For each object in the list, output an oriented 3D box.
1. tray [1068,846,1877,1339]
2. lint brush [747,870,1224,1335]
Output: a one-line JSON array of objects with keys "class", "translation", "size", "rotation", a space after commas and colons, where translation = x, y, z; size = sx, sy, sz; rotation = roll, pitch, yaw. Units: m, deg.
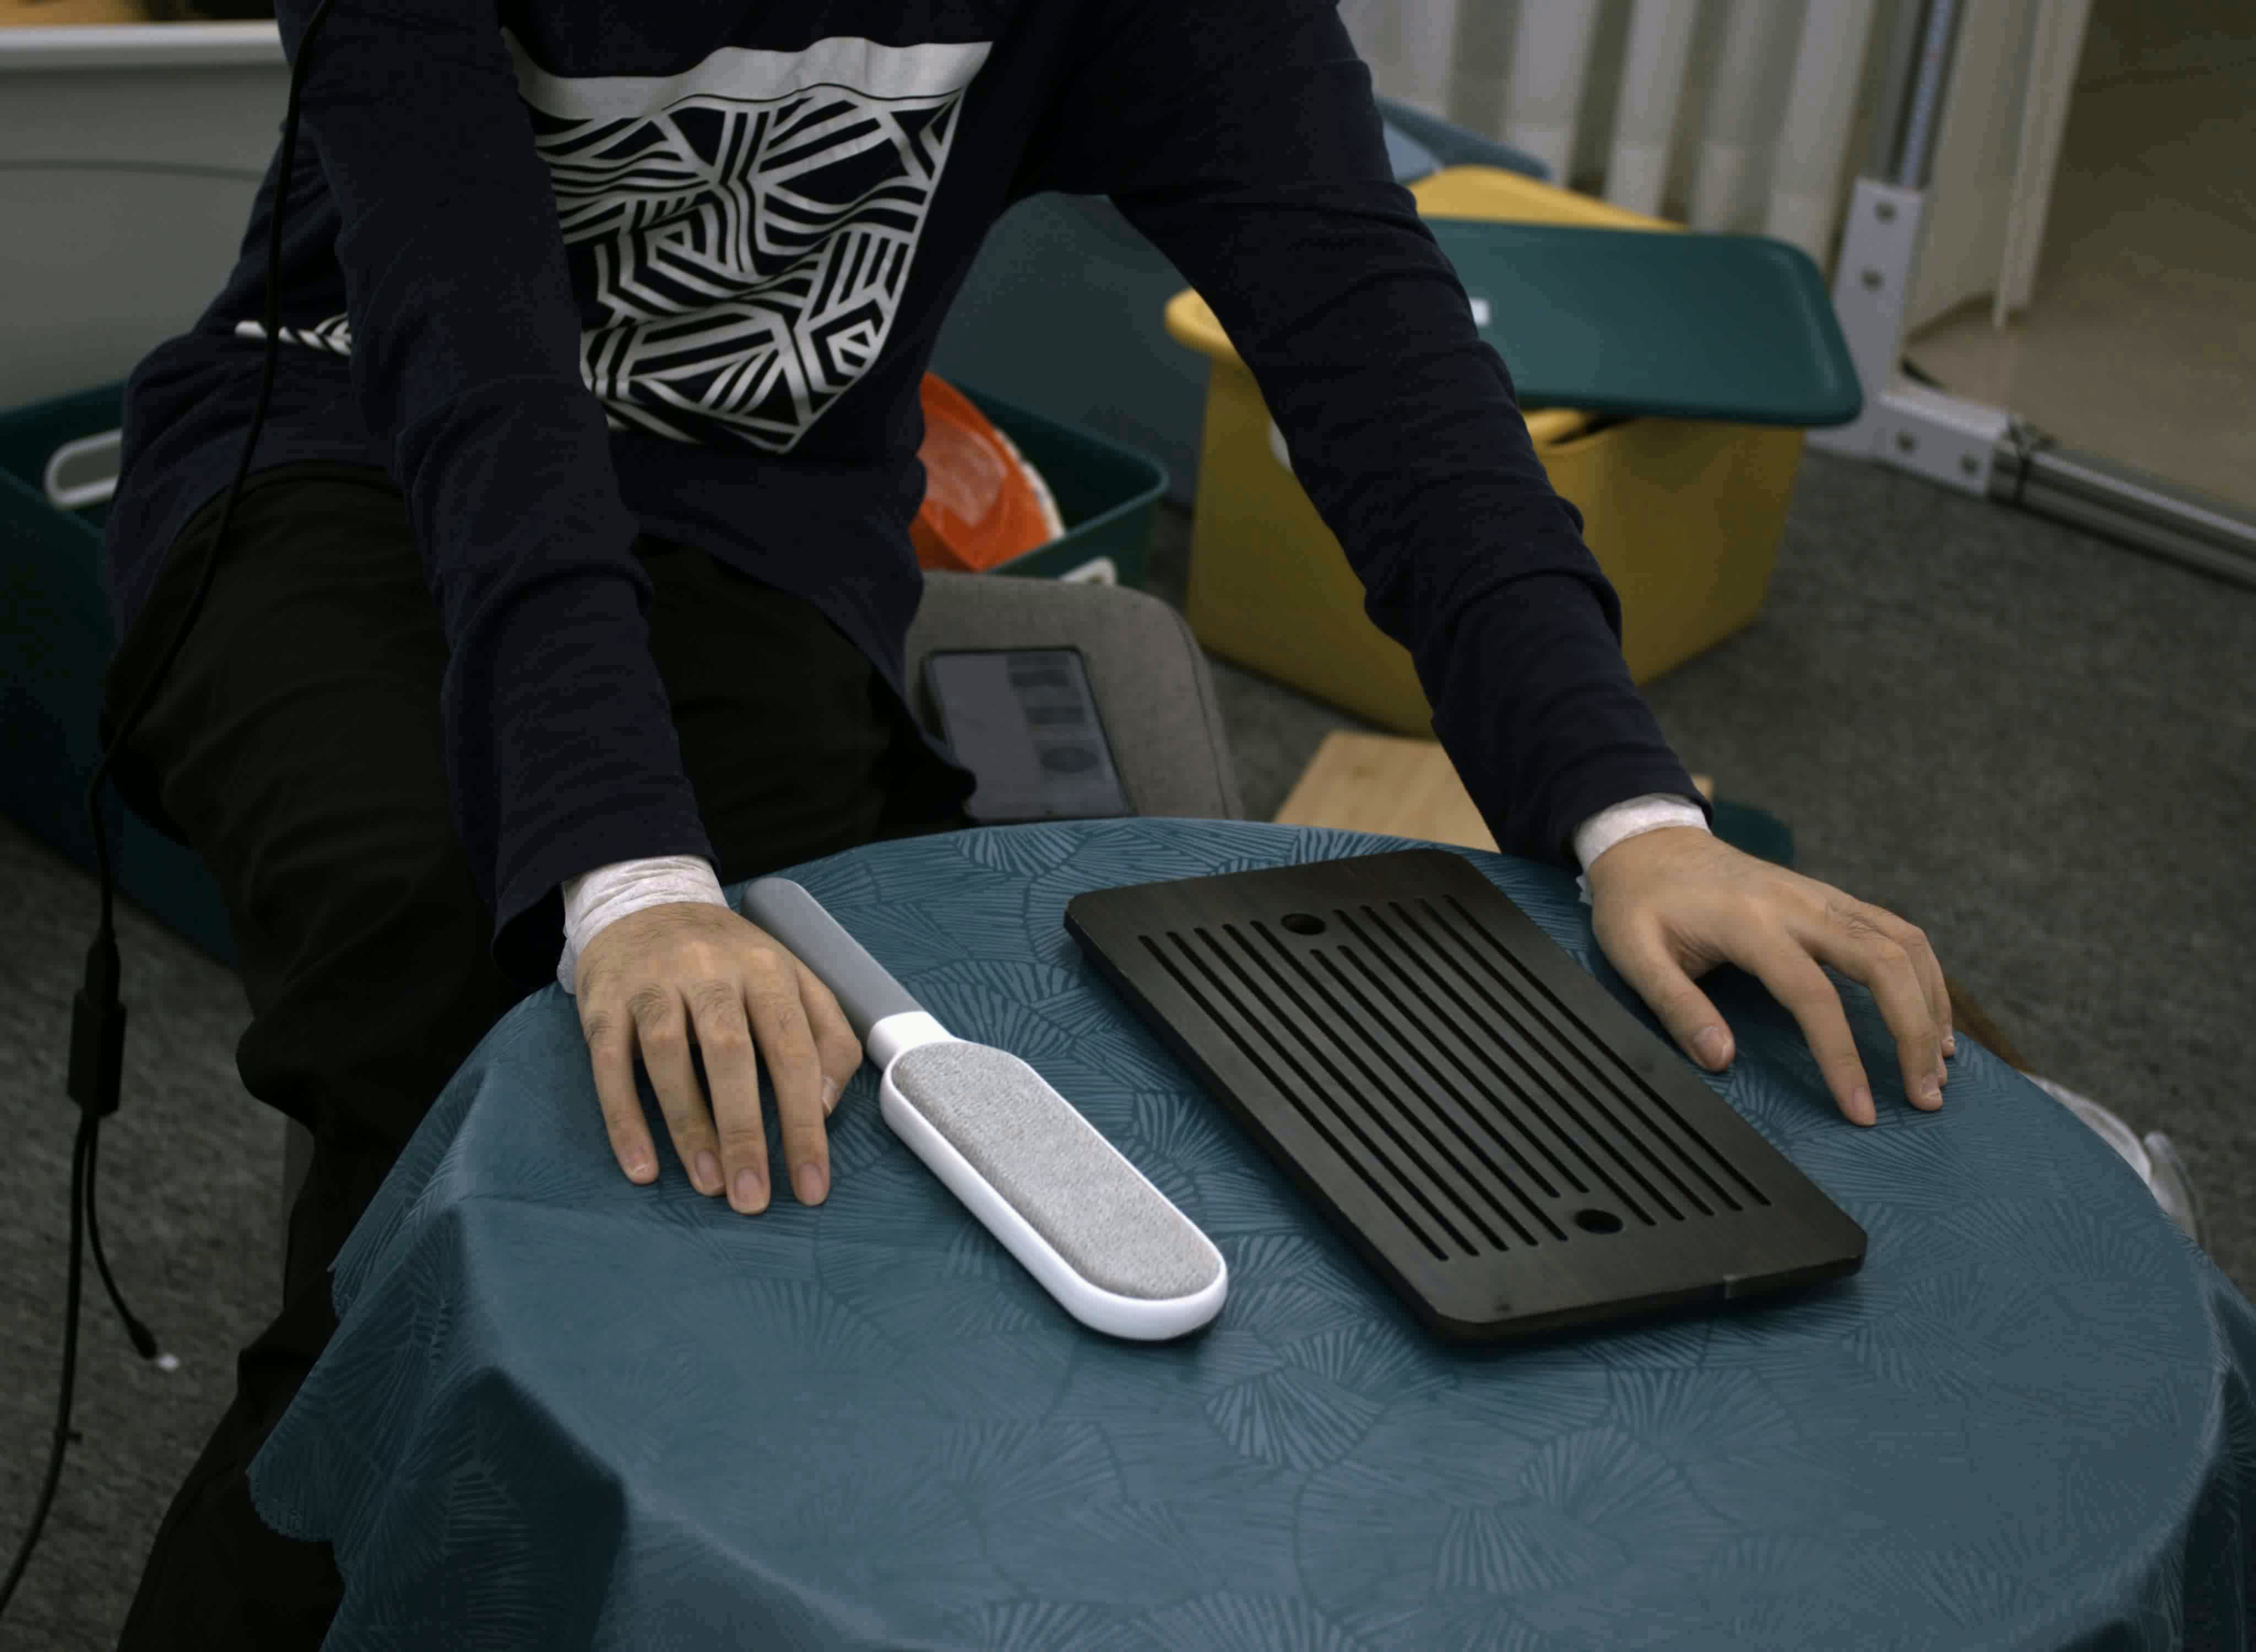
[{"class": "tray", "translation": [0.115, 0.091, 1.878], "size": [0.169, 0.018, 0.309], "rotation": [-8, 30, -26]}, {"class": "lint brush", "translation": [-0.056, 0.090, 1.830], "size": [0.060, 0.021, 0.312], "rotation": [-14, 33, -25]}]
